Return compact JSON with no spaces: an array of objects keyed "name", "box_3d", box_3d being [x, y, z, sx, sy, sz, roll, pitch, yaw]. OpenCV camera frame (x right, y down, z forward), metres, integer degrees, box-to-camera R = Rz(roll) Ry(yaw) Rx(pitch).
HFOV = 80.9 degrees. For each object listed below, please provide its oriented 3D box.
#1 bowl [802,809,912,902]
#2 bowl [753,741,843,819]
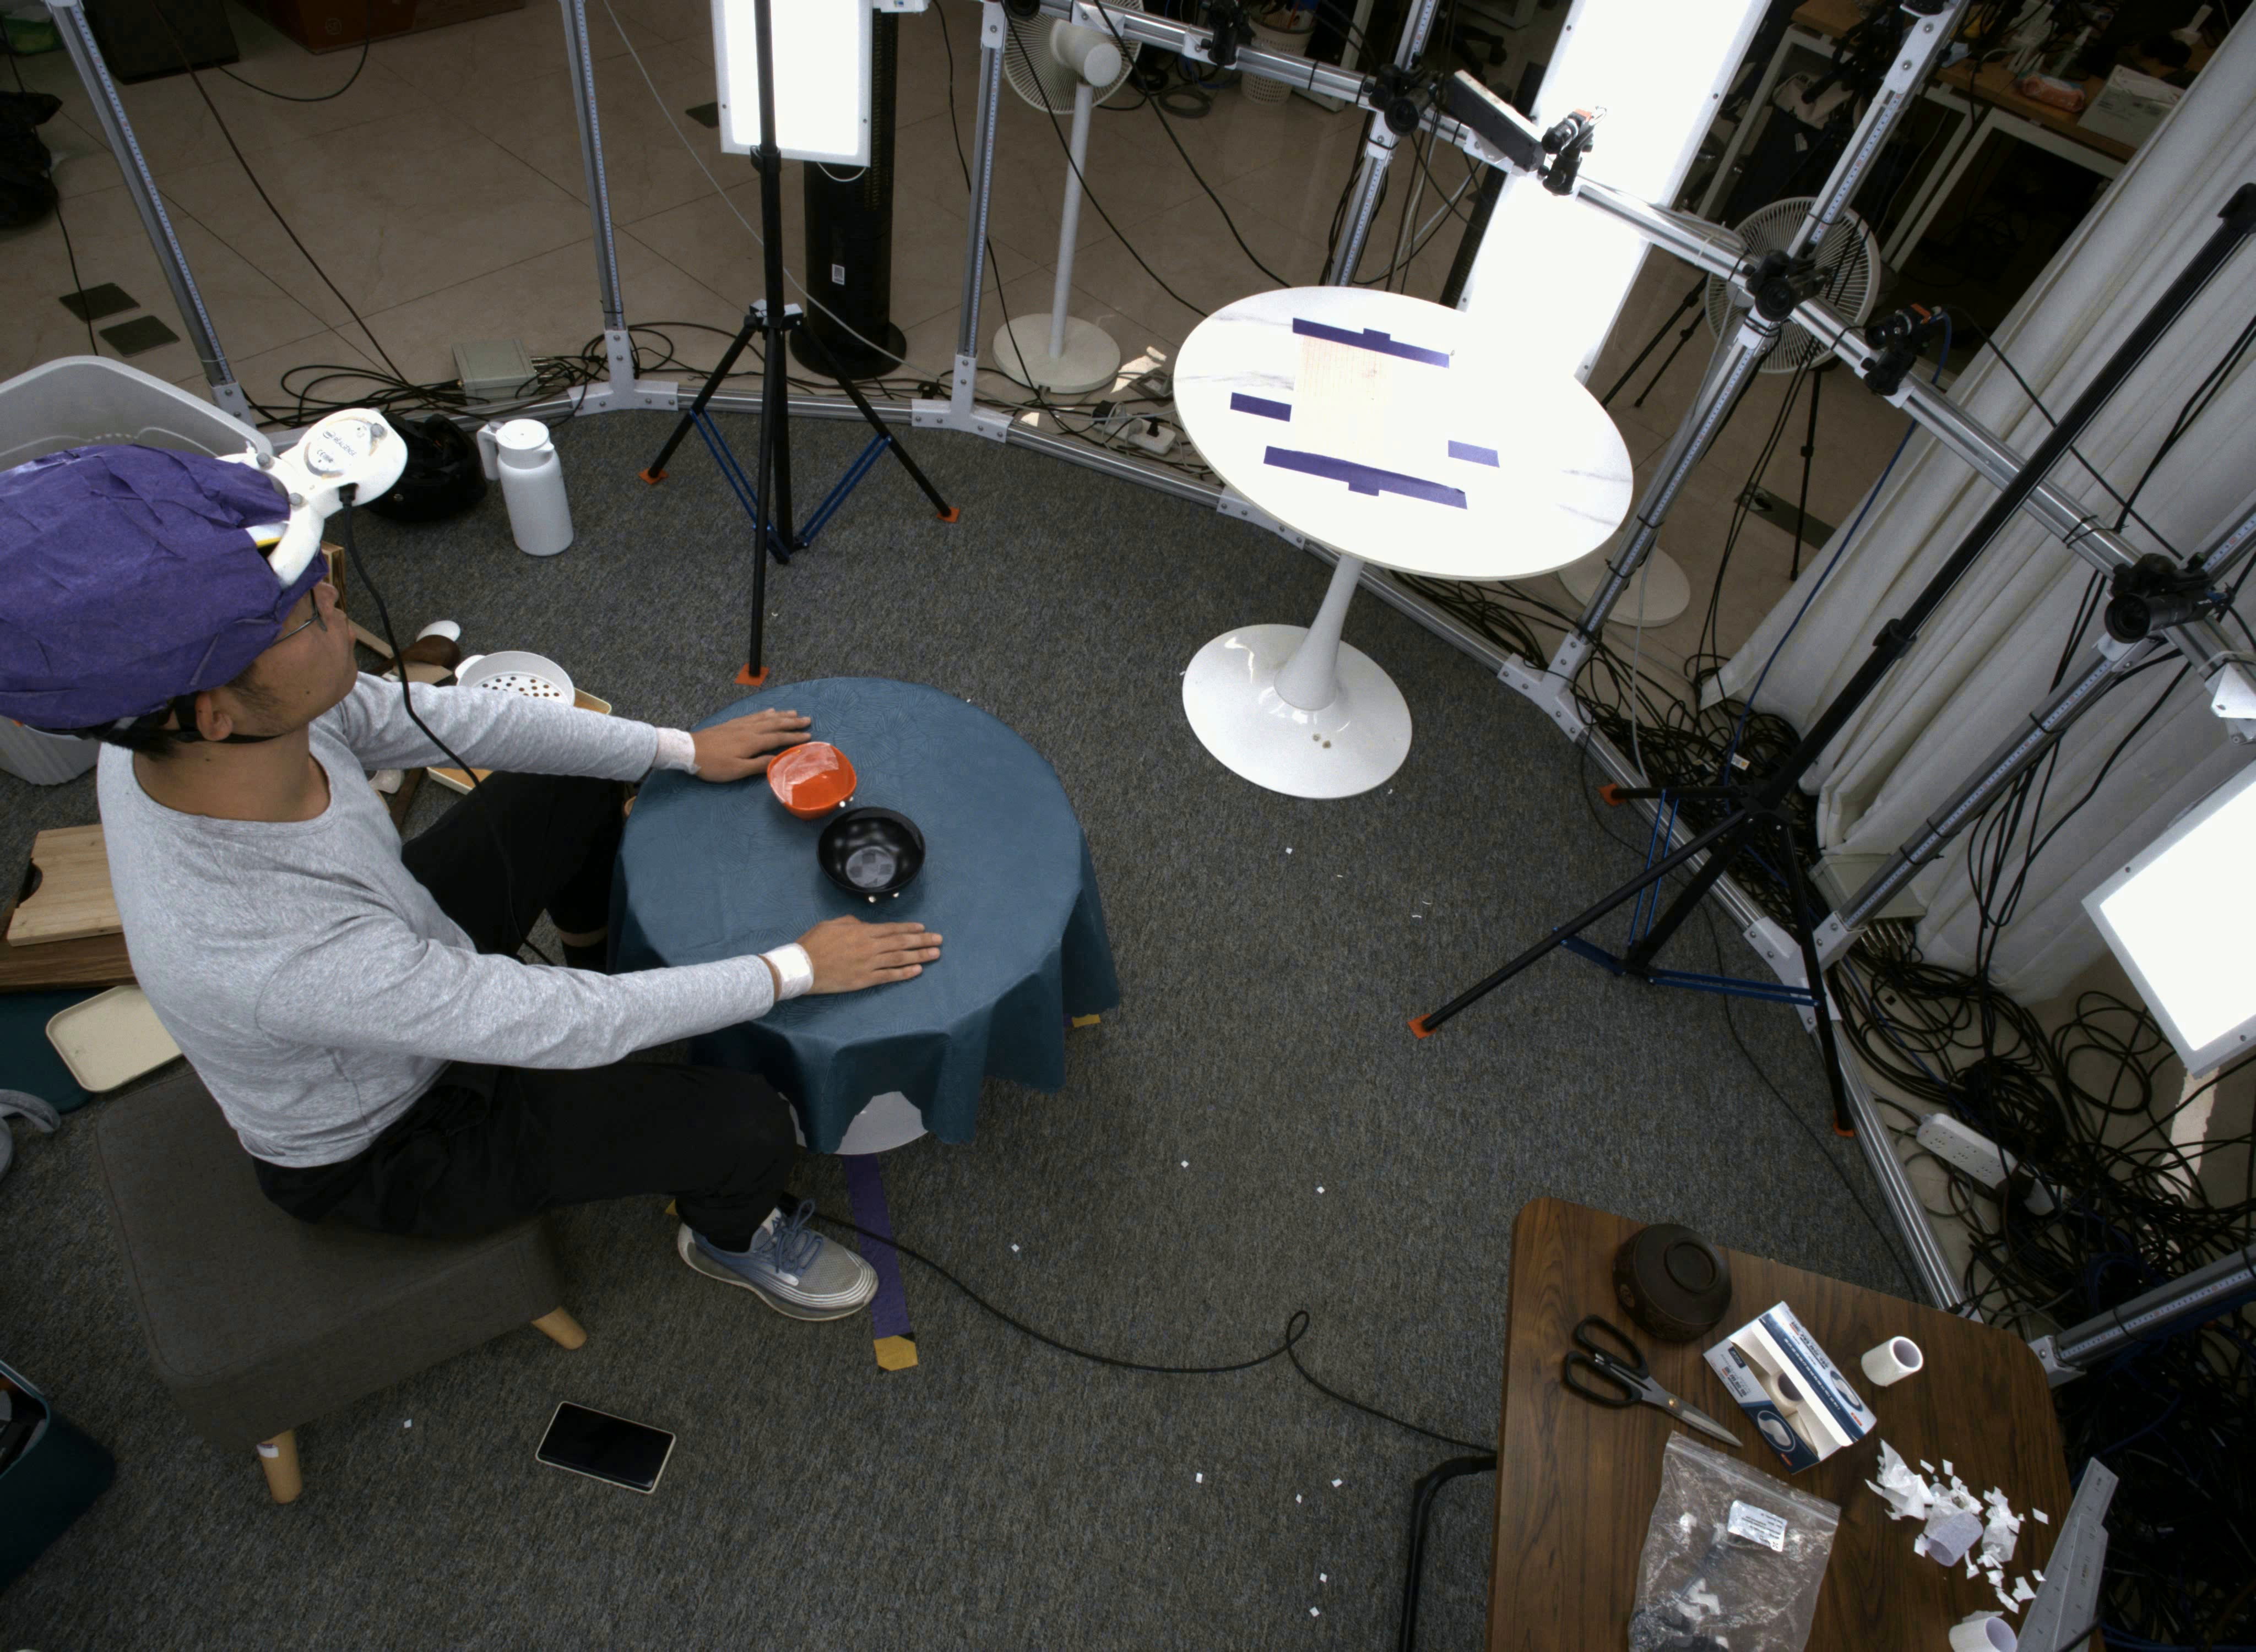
[{"name":"bowl","box_3d":[-0.351,0.046,1.689,0.139,0.051,0.137,7,52,-7]},{"name":"bowl","box_3d":[-0.442,-0.054,1.735,0.119,0.052,0.117,10,51,-11]}]
